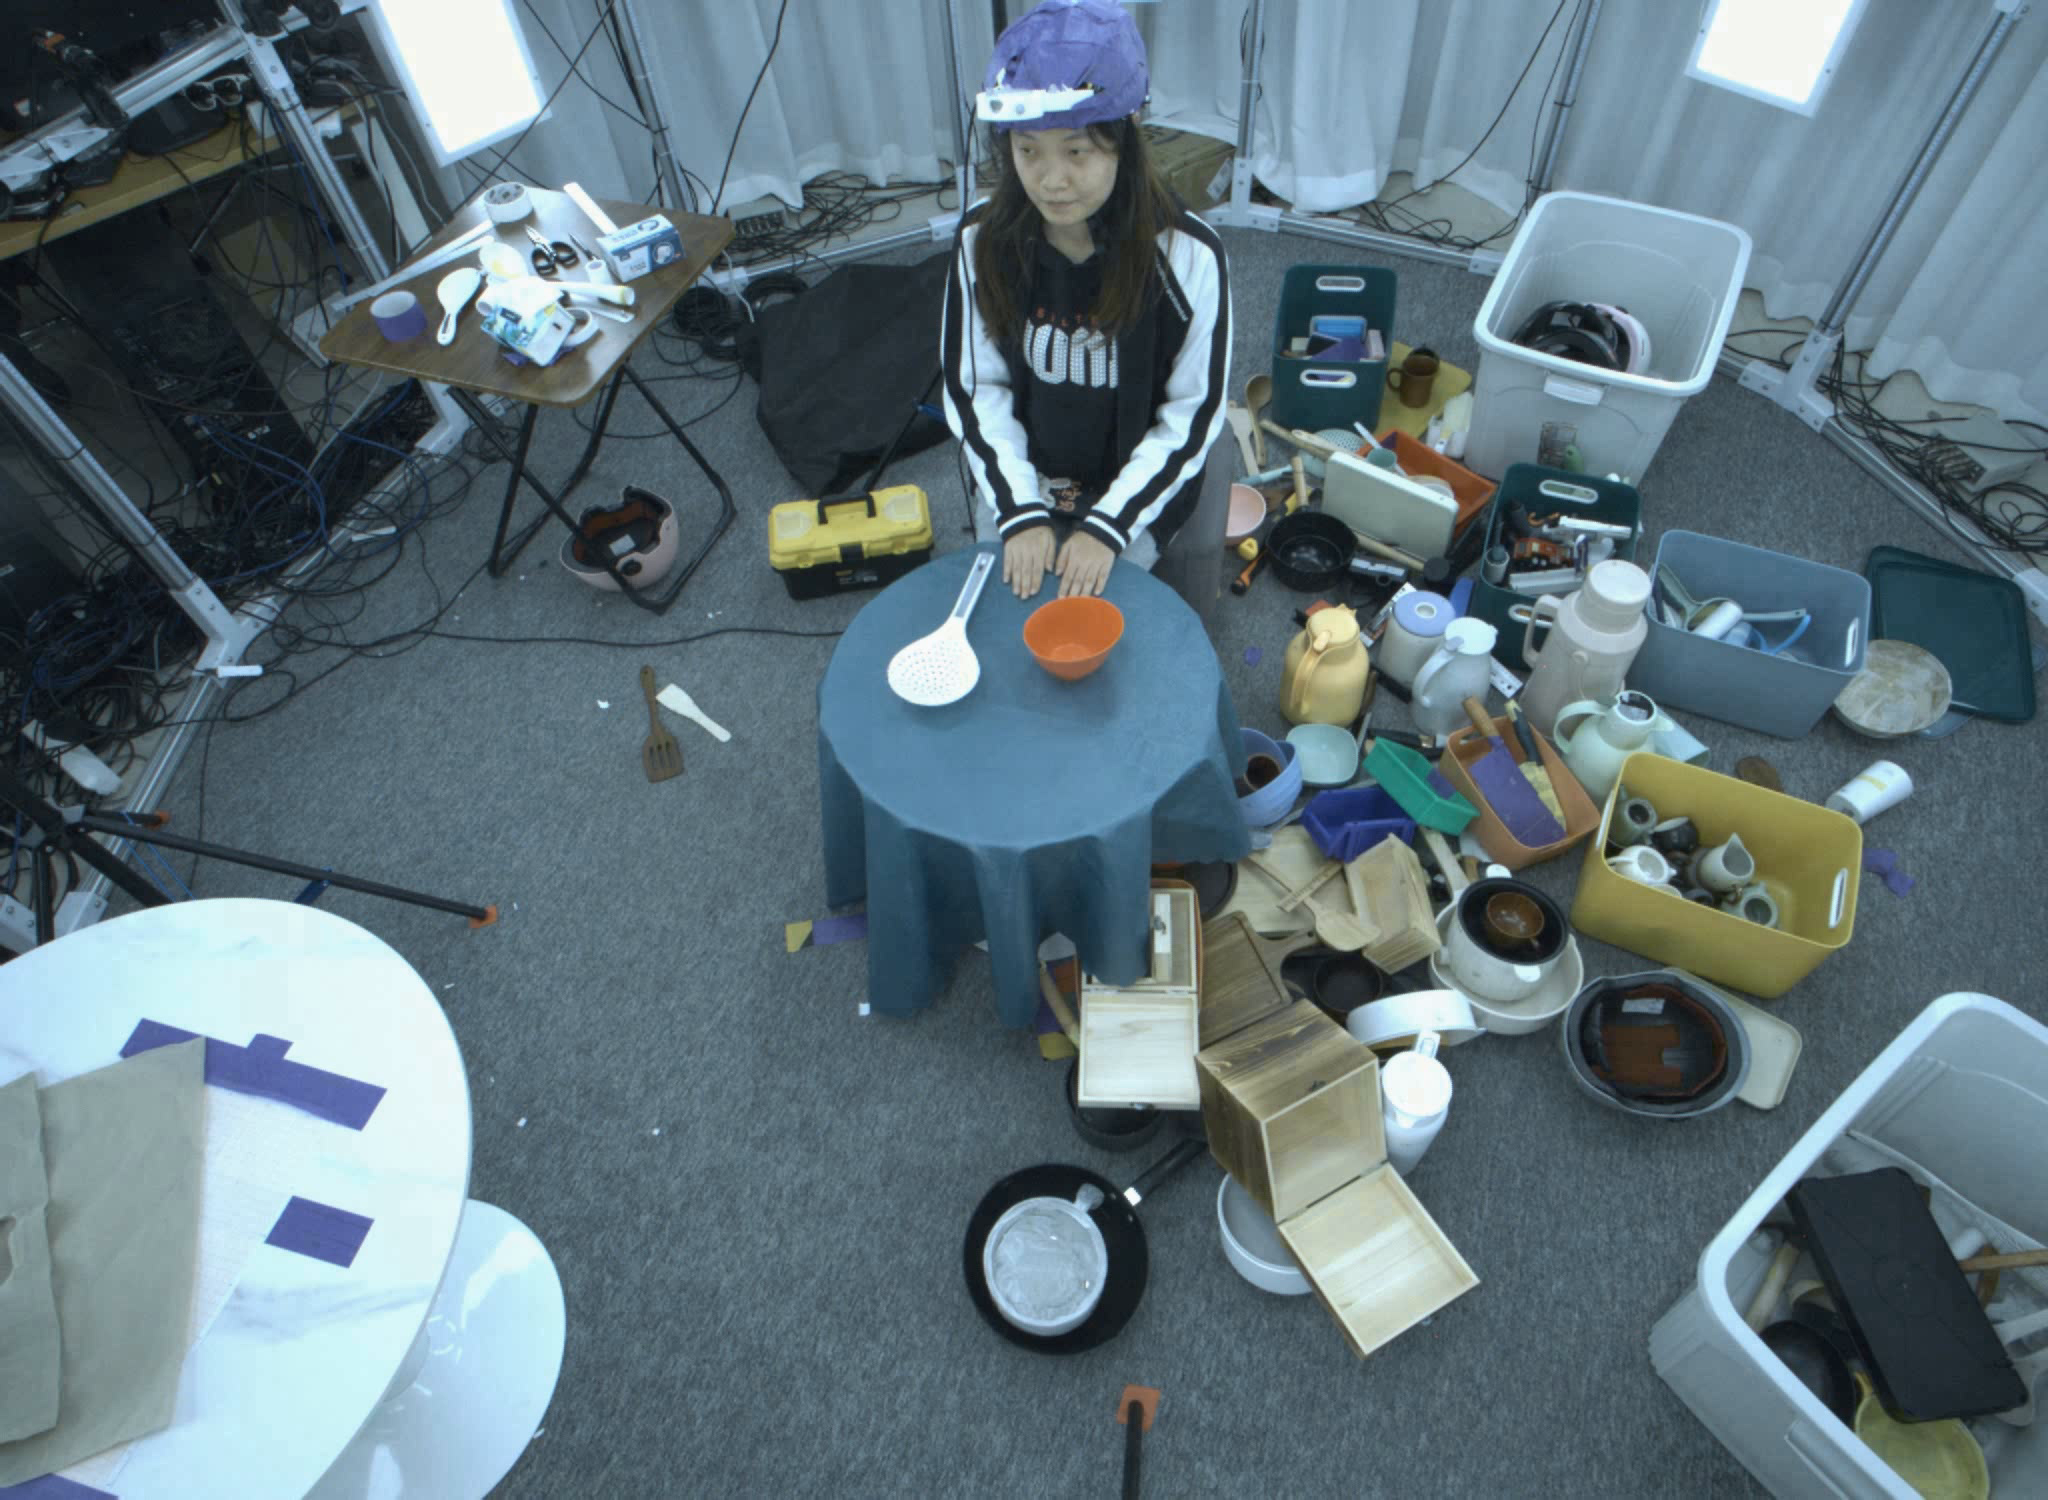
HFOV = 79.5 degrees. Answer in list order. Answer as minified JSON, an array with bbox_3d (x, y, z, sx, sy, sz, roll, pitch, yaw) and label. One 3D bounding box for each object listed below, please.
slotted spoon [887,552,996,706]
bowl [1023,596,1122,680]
[{"bbox_3d":[-0.108,-0.192,1.899,0.135,0.046,0.348,13,56,9],"label":"slotted spoon"},{"bbox_3d":[0.074,-0.154,1.833,0.148,0.106,0.146,-2,54,4],"label":"bowl"}]
